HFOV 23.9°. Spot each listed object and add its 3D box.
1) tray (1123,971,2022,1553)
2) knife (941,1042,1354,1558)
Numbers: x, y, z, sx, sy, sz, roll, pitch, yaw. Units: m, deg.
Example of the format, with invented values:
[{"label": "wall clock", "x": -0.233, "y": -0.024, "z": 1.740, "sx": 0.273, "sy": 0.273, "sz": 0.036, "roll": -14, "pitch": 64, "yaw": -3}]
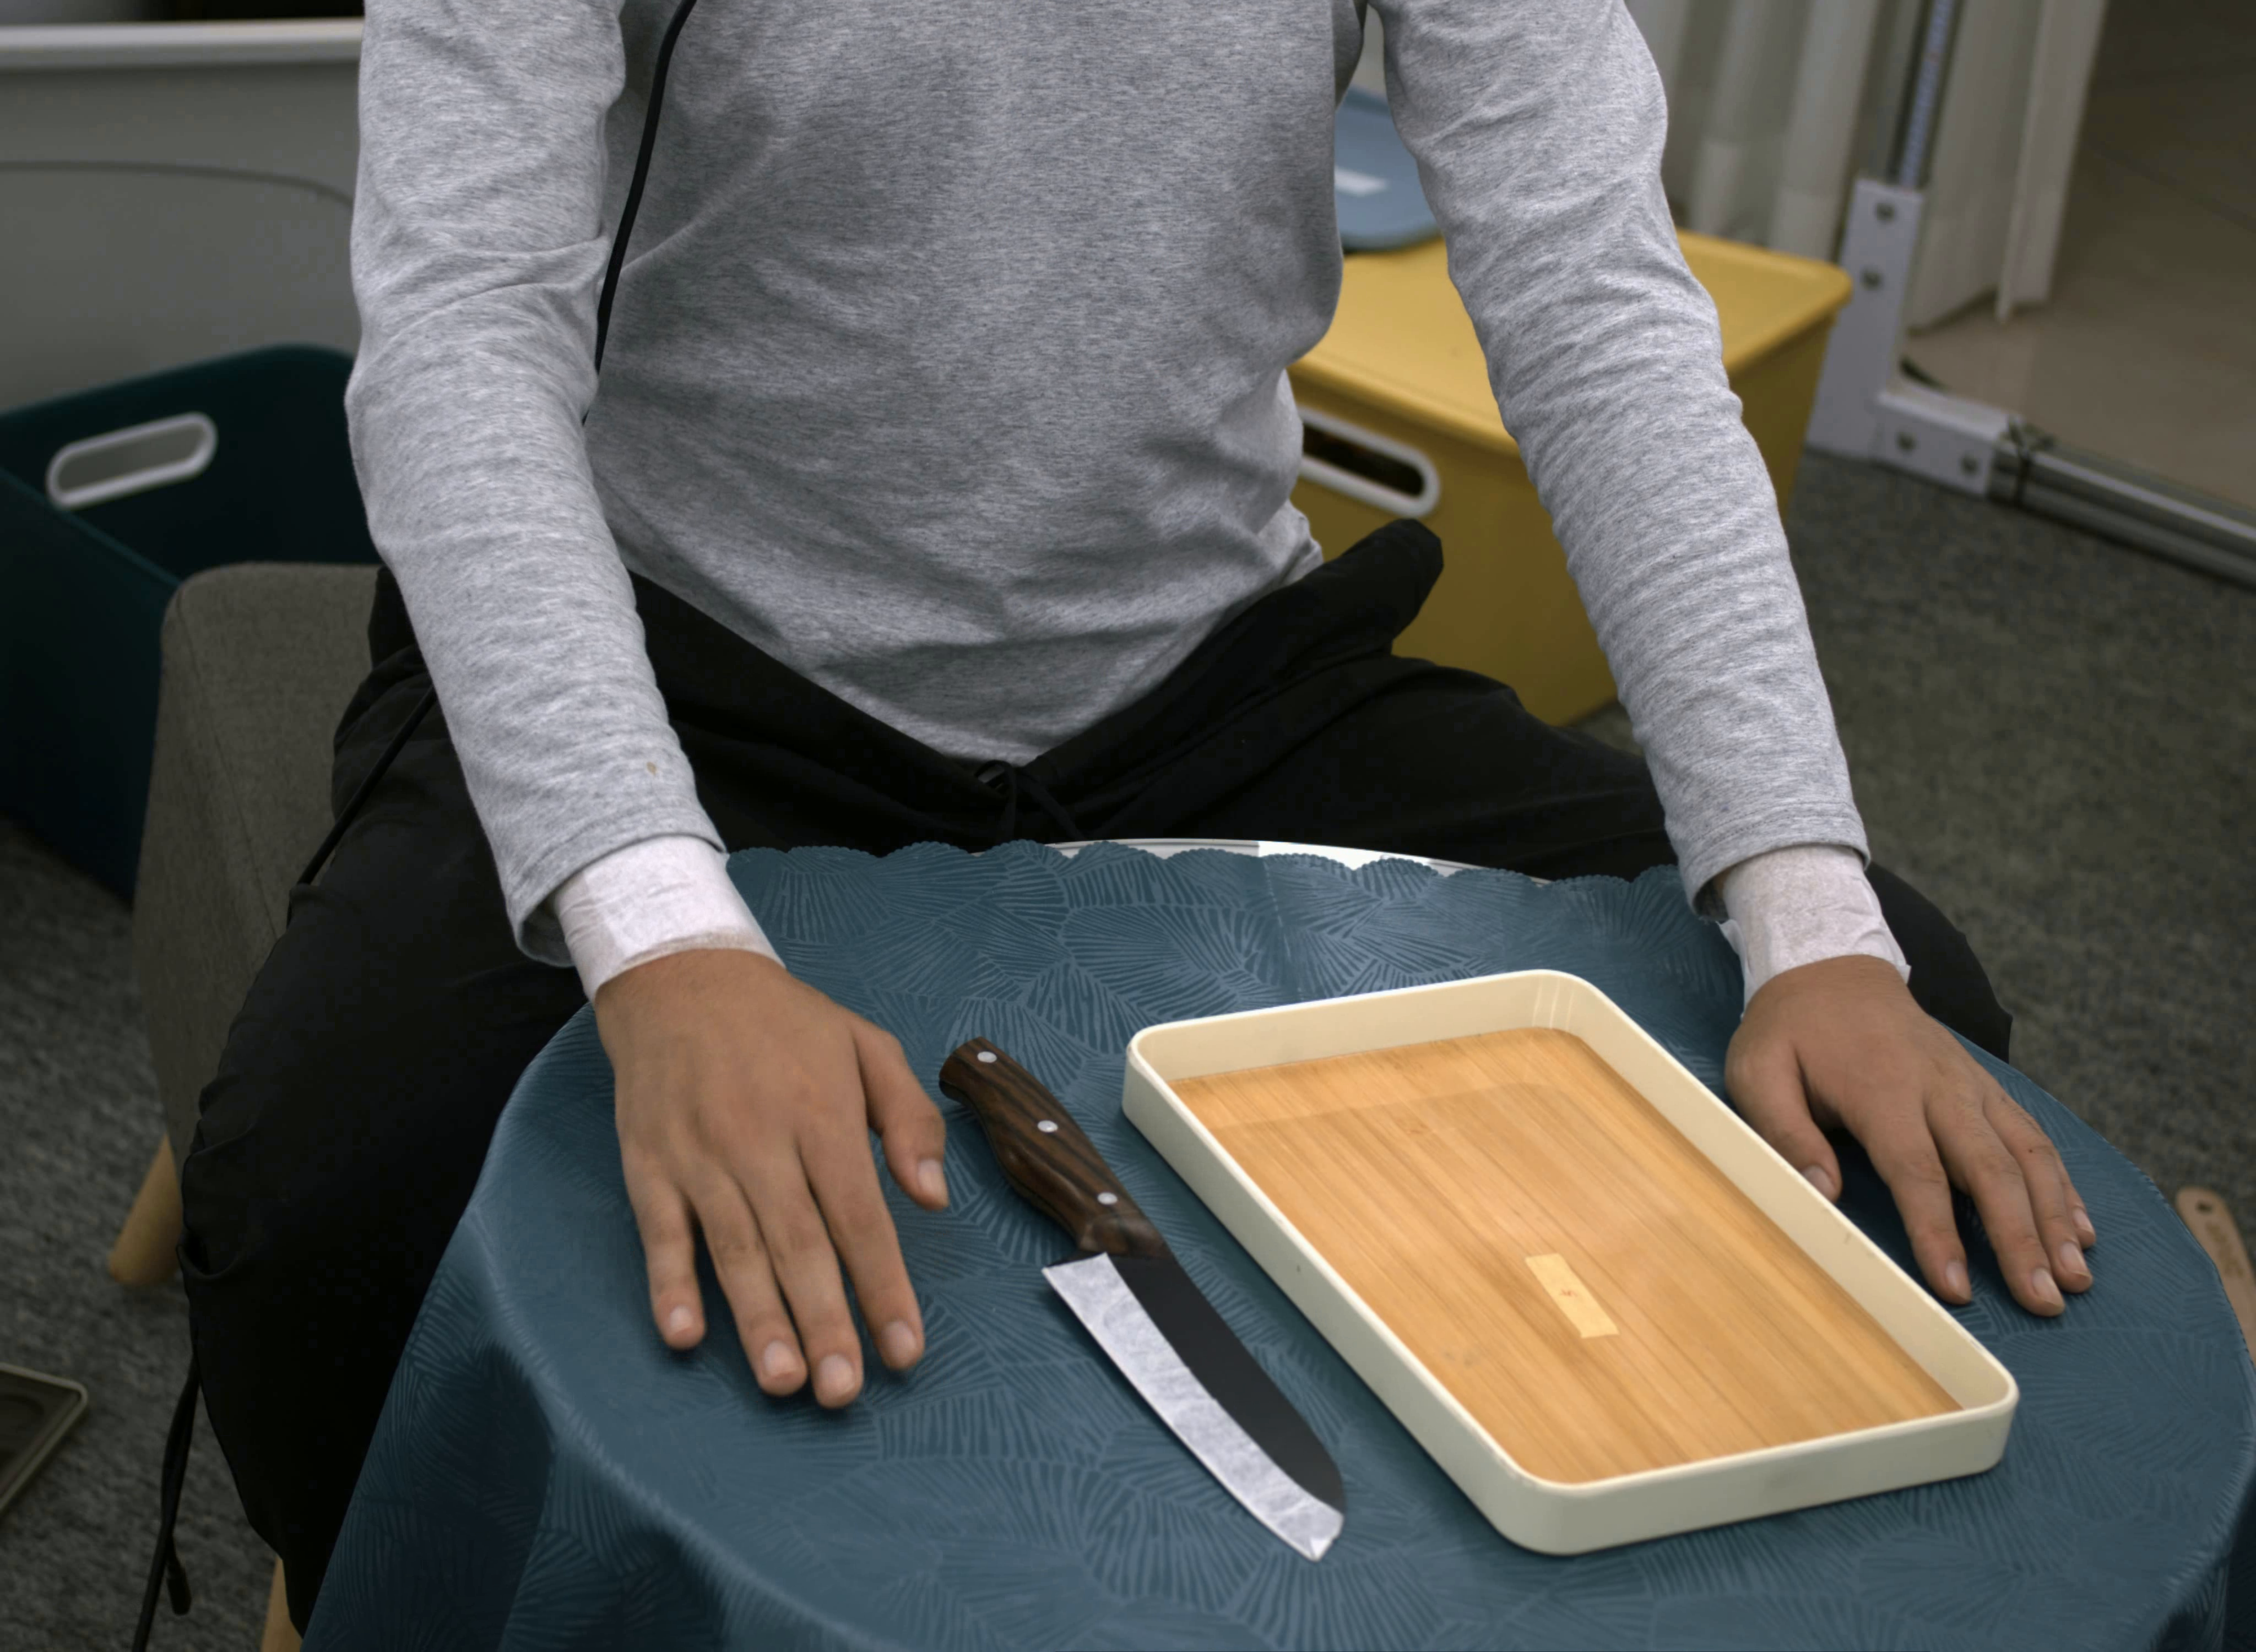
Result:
[{"label": "tray", "x": 0.142, "y": 0.139, "z": 1.779, "sx": 0.190, "sy": 0.027, "sz": 0.303, "roll": -7, "pitch": 30, "yaw": -25}, {"label": "knife", "x": 0.003, "y": 0.152, "z": 1.733, "sx": 0.050, "sy": 0.020, "sz": 0.292, "roll": -11, "pitch": 33, "yaw": -21}]
